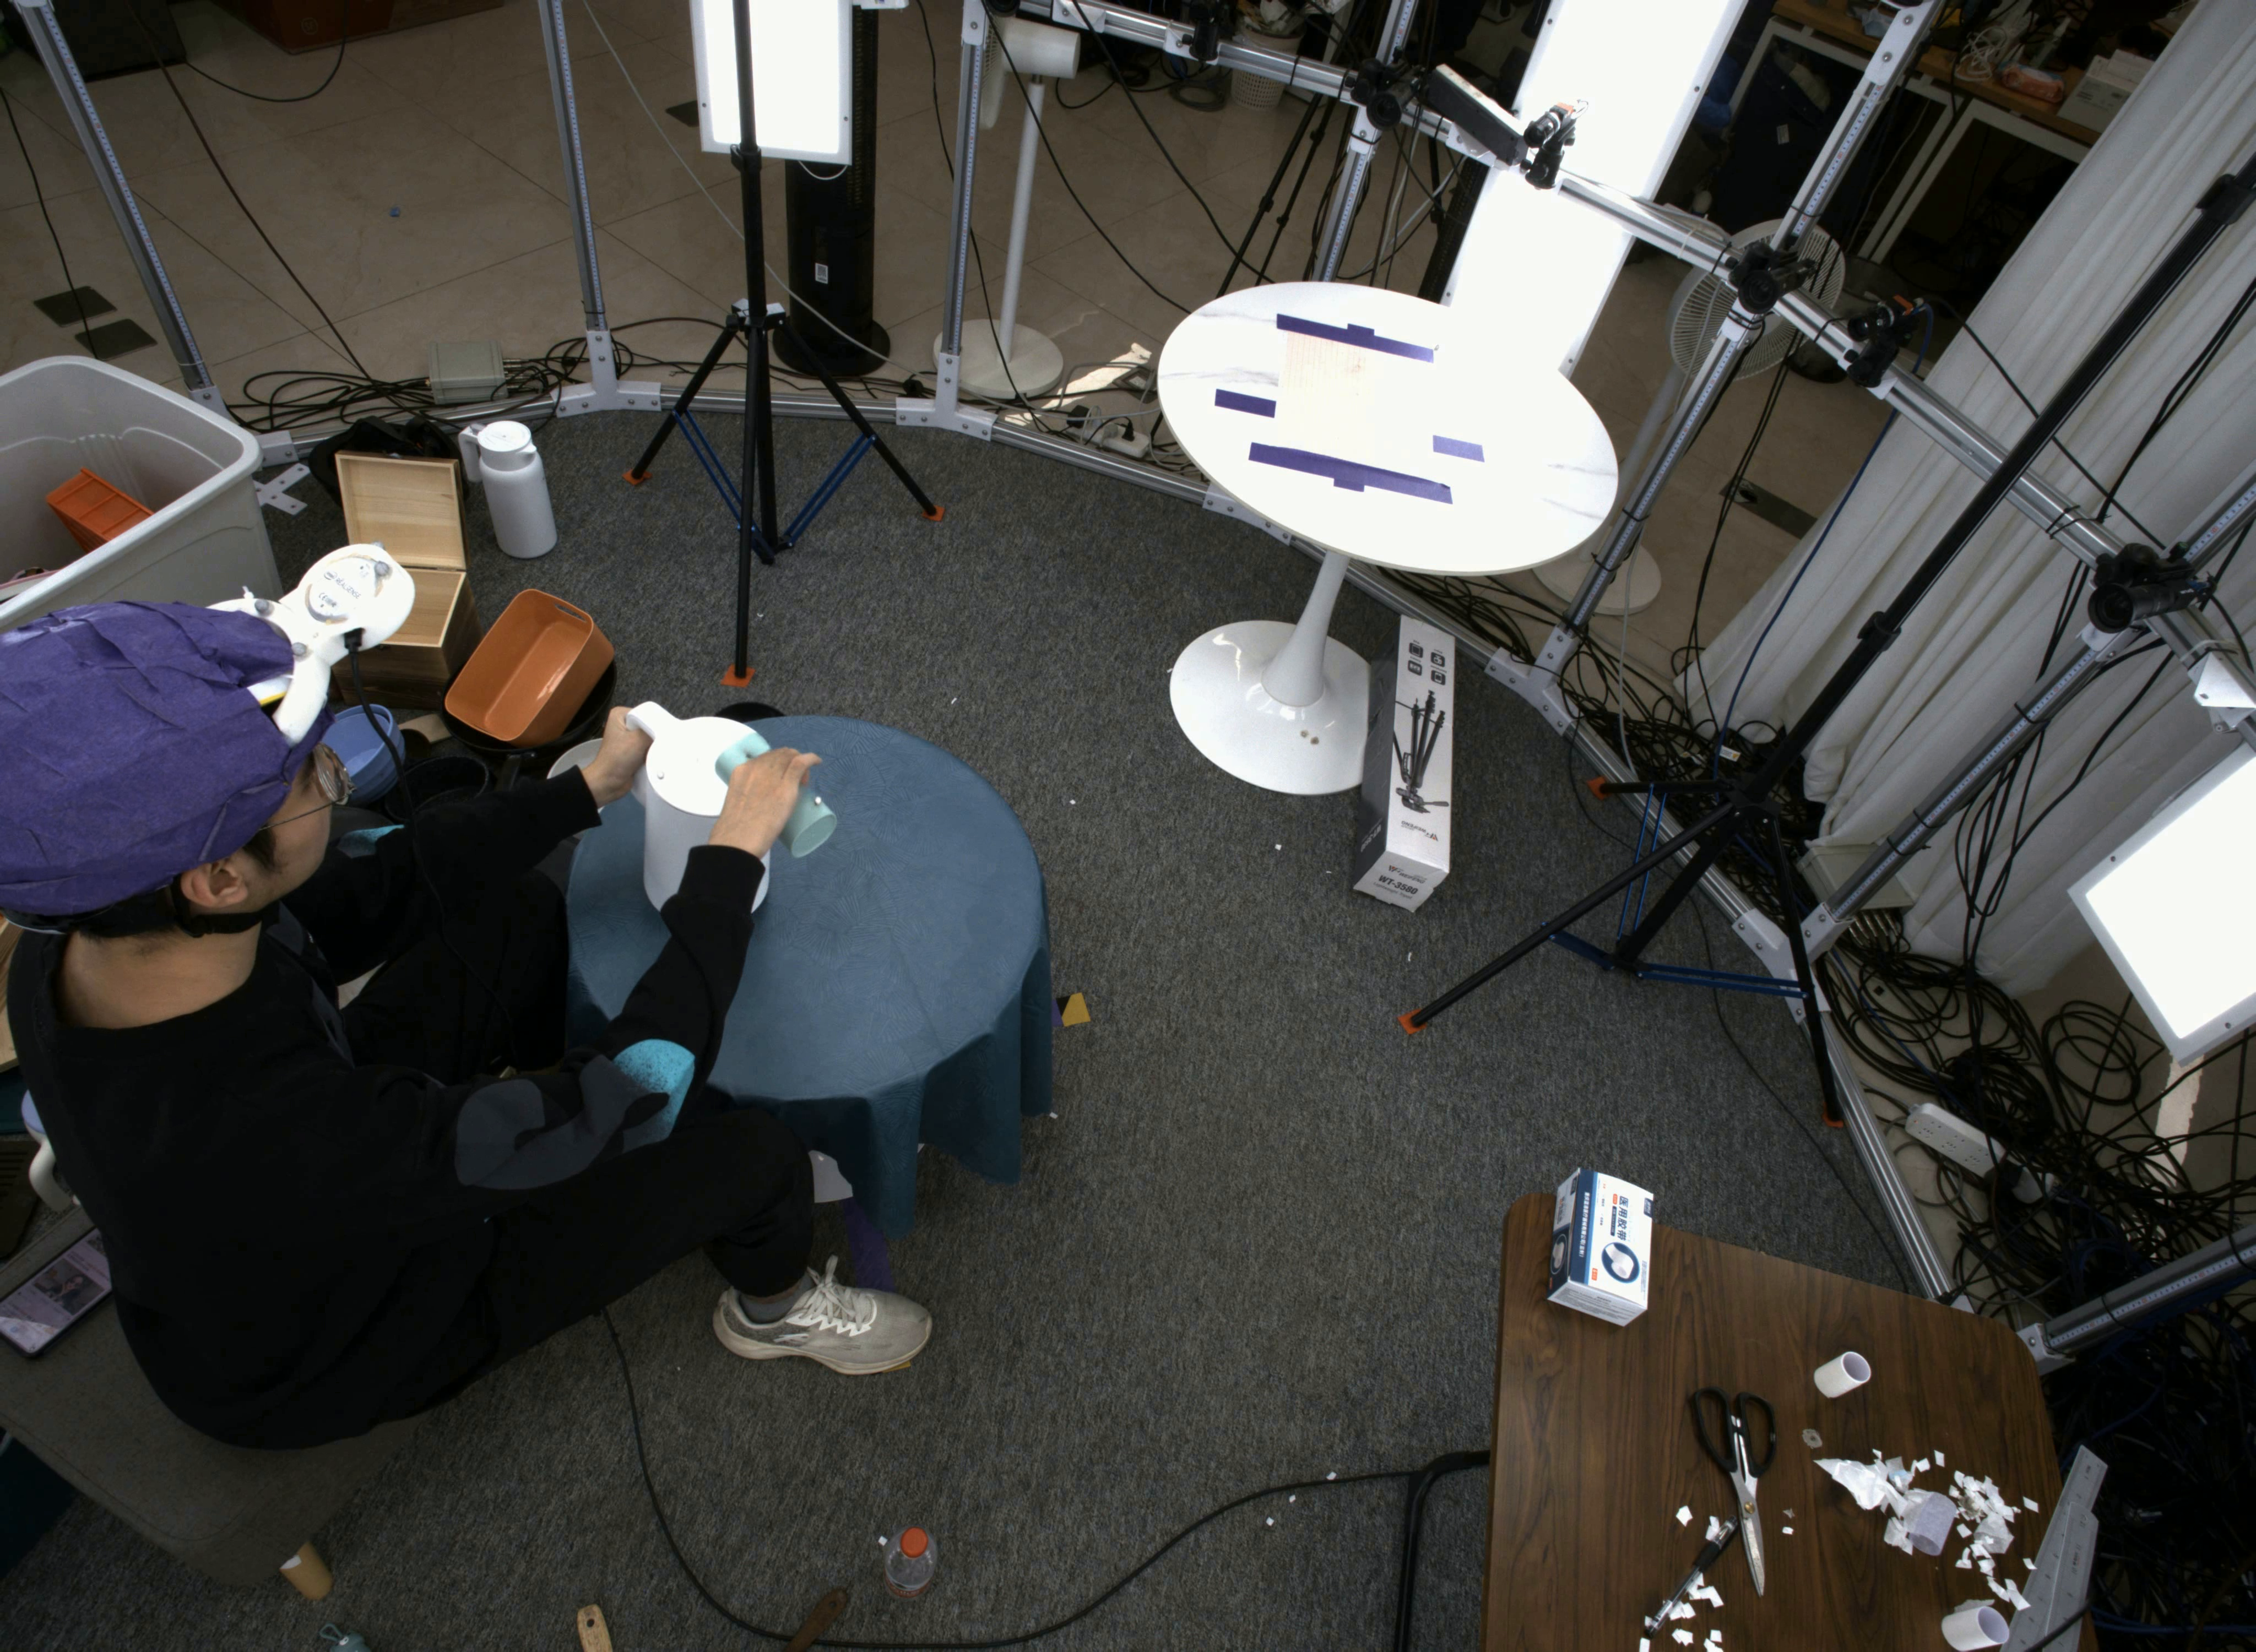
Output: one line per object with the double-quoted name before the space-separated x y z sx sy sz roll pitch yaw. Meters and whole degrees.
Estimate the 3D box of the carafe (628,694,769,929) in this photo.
"carafe" -0.520 -0.024 1.544 0.210 0.243 0.152 40 51 11

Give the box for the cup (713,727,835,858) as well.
"cup" -0.379 -0.036 1.381 0.131 0.067 0.067 47 56 11
